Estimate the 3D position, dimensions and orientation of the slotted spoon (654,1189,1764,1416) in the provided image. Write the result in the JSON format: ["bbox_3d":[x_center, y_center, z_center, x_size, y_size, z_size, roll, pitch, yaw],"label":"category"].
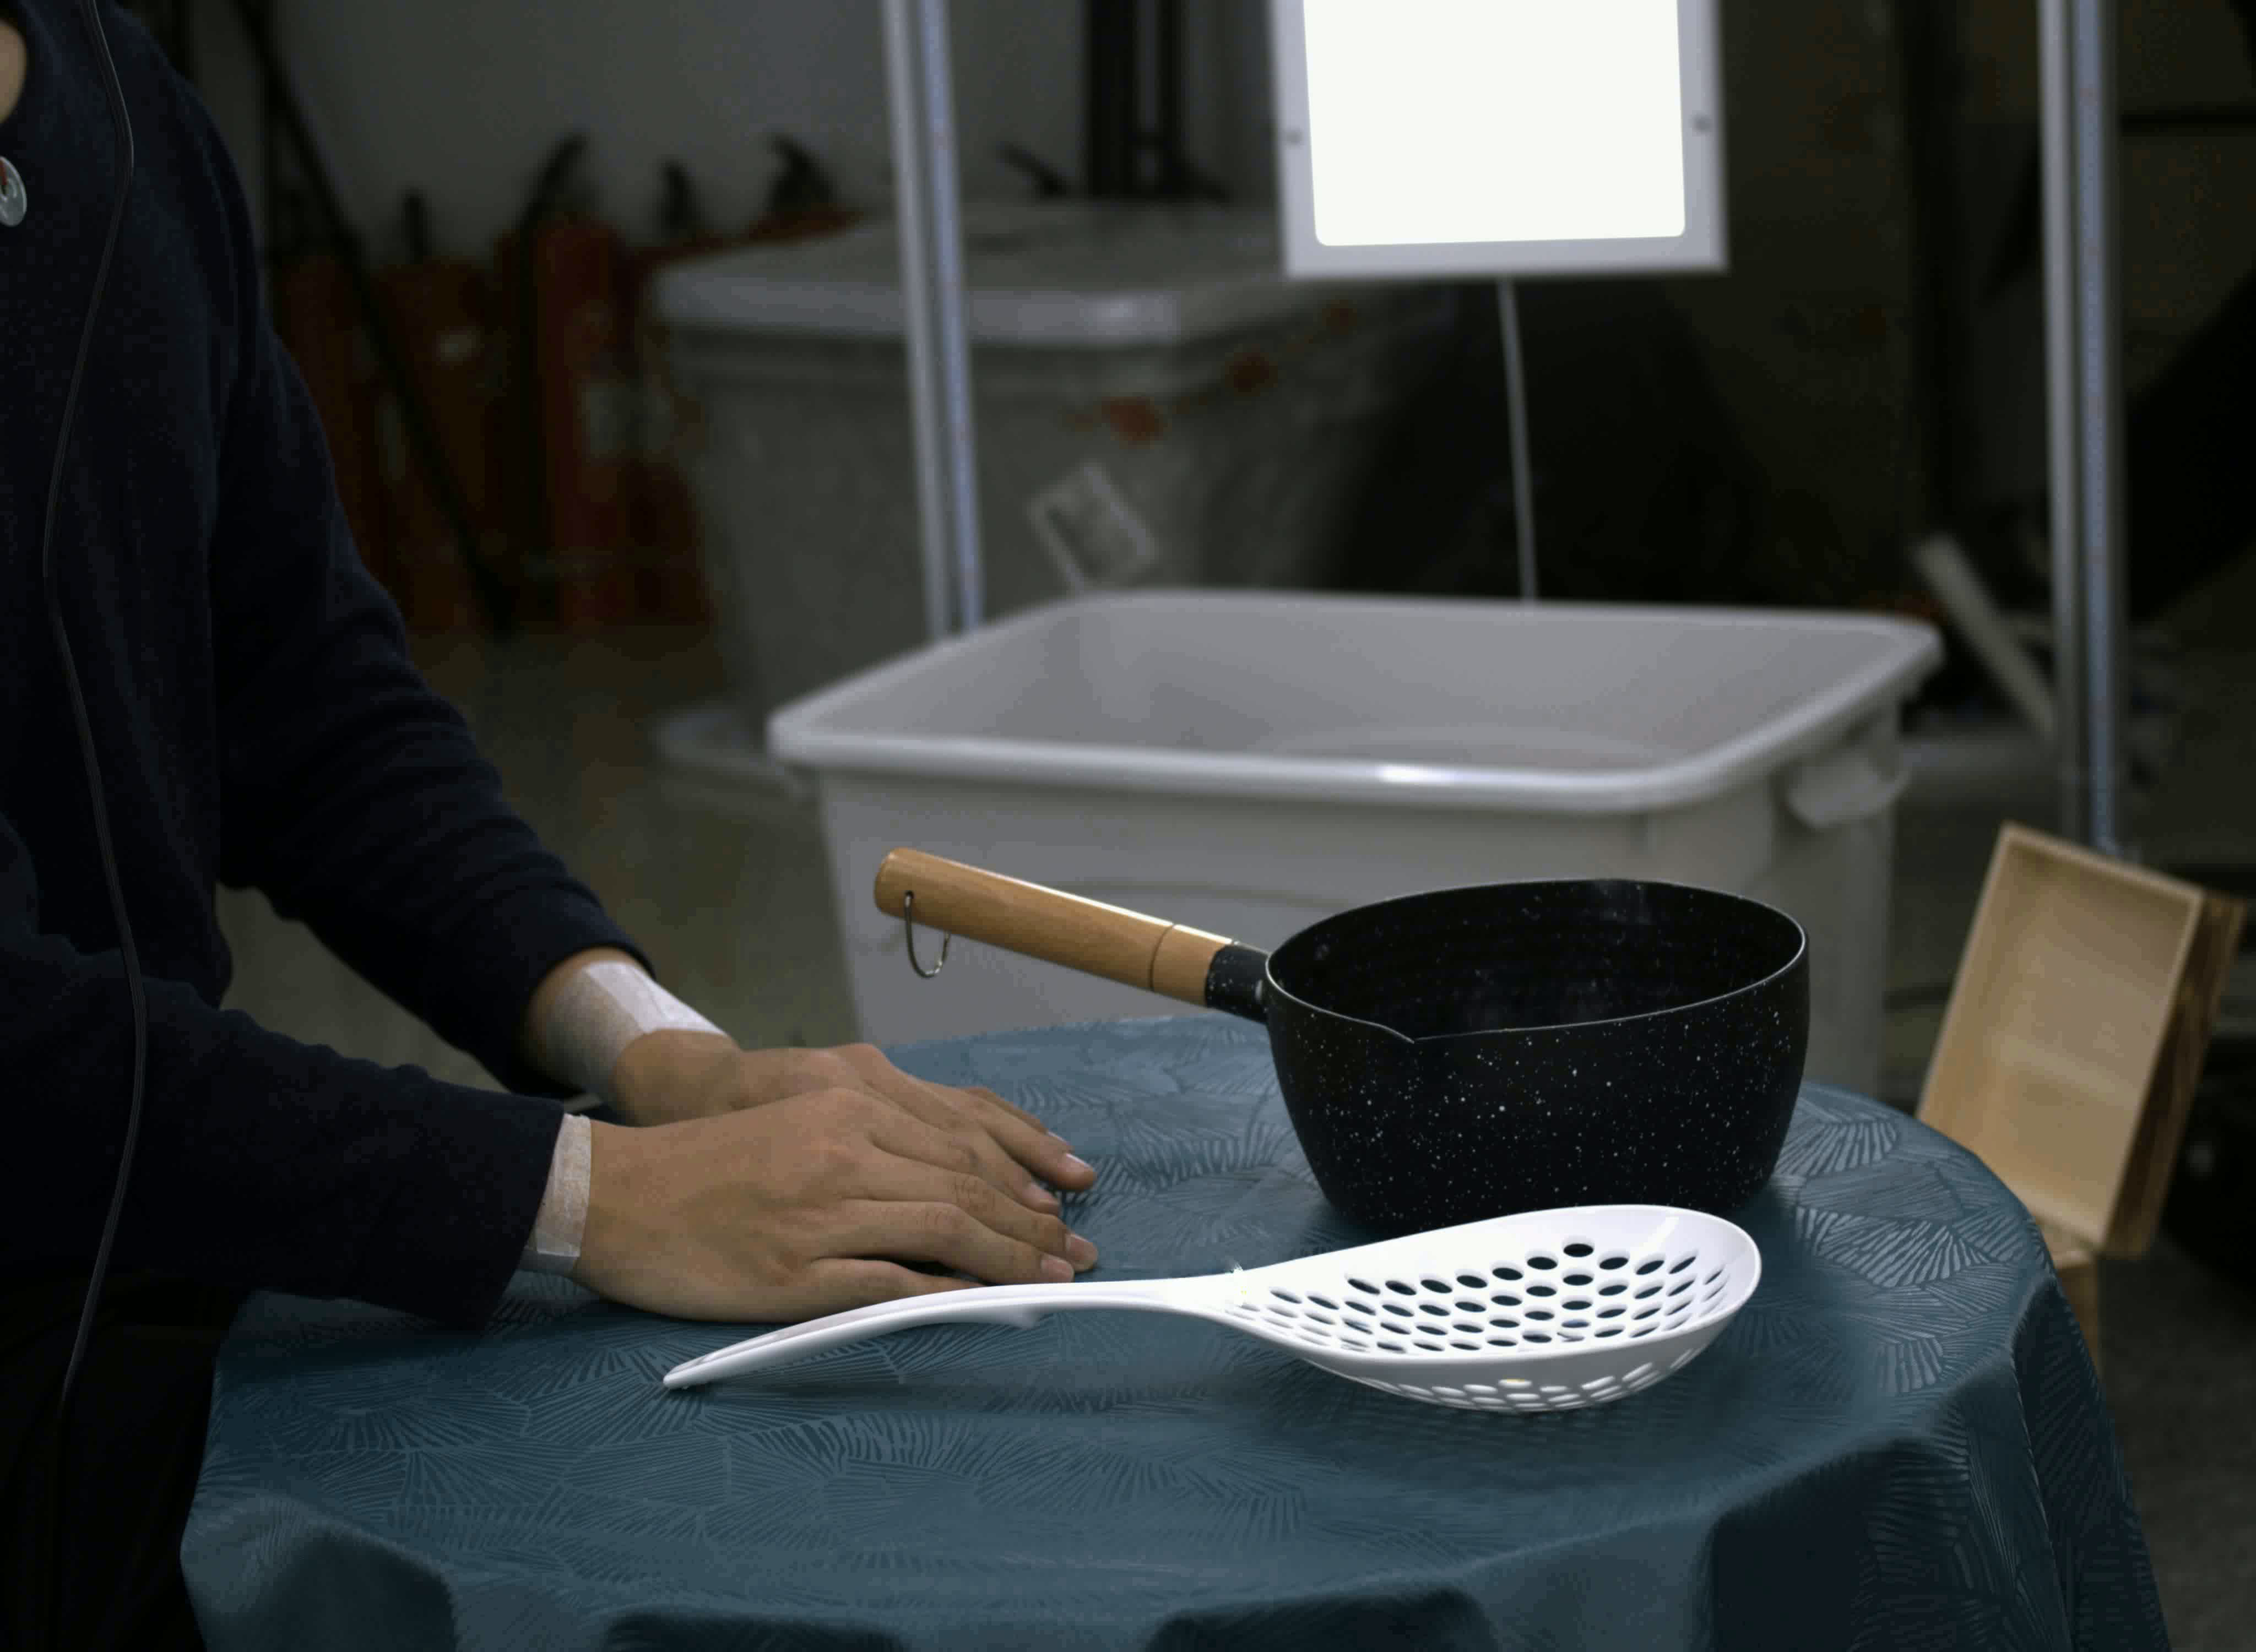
[{"bbox_3d":[0.022,0.154,1.689,0.351,0.050,0.135,0,16,15],"label":"slotted spoon"}]

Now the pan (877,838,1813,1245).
[{"bbox_3d":[0.068,0.067,1.887,0.348,0.108,0.203,3,17,26],"label":"pan"}]
